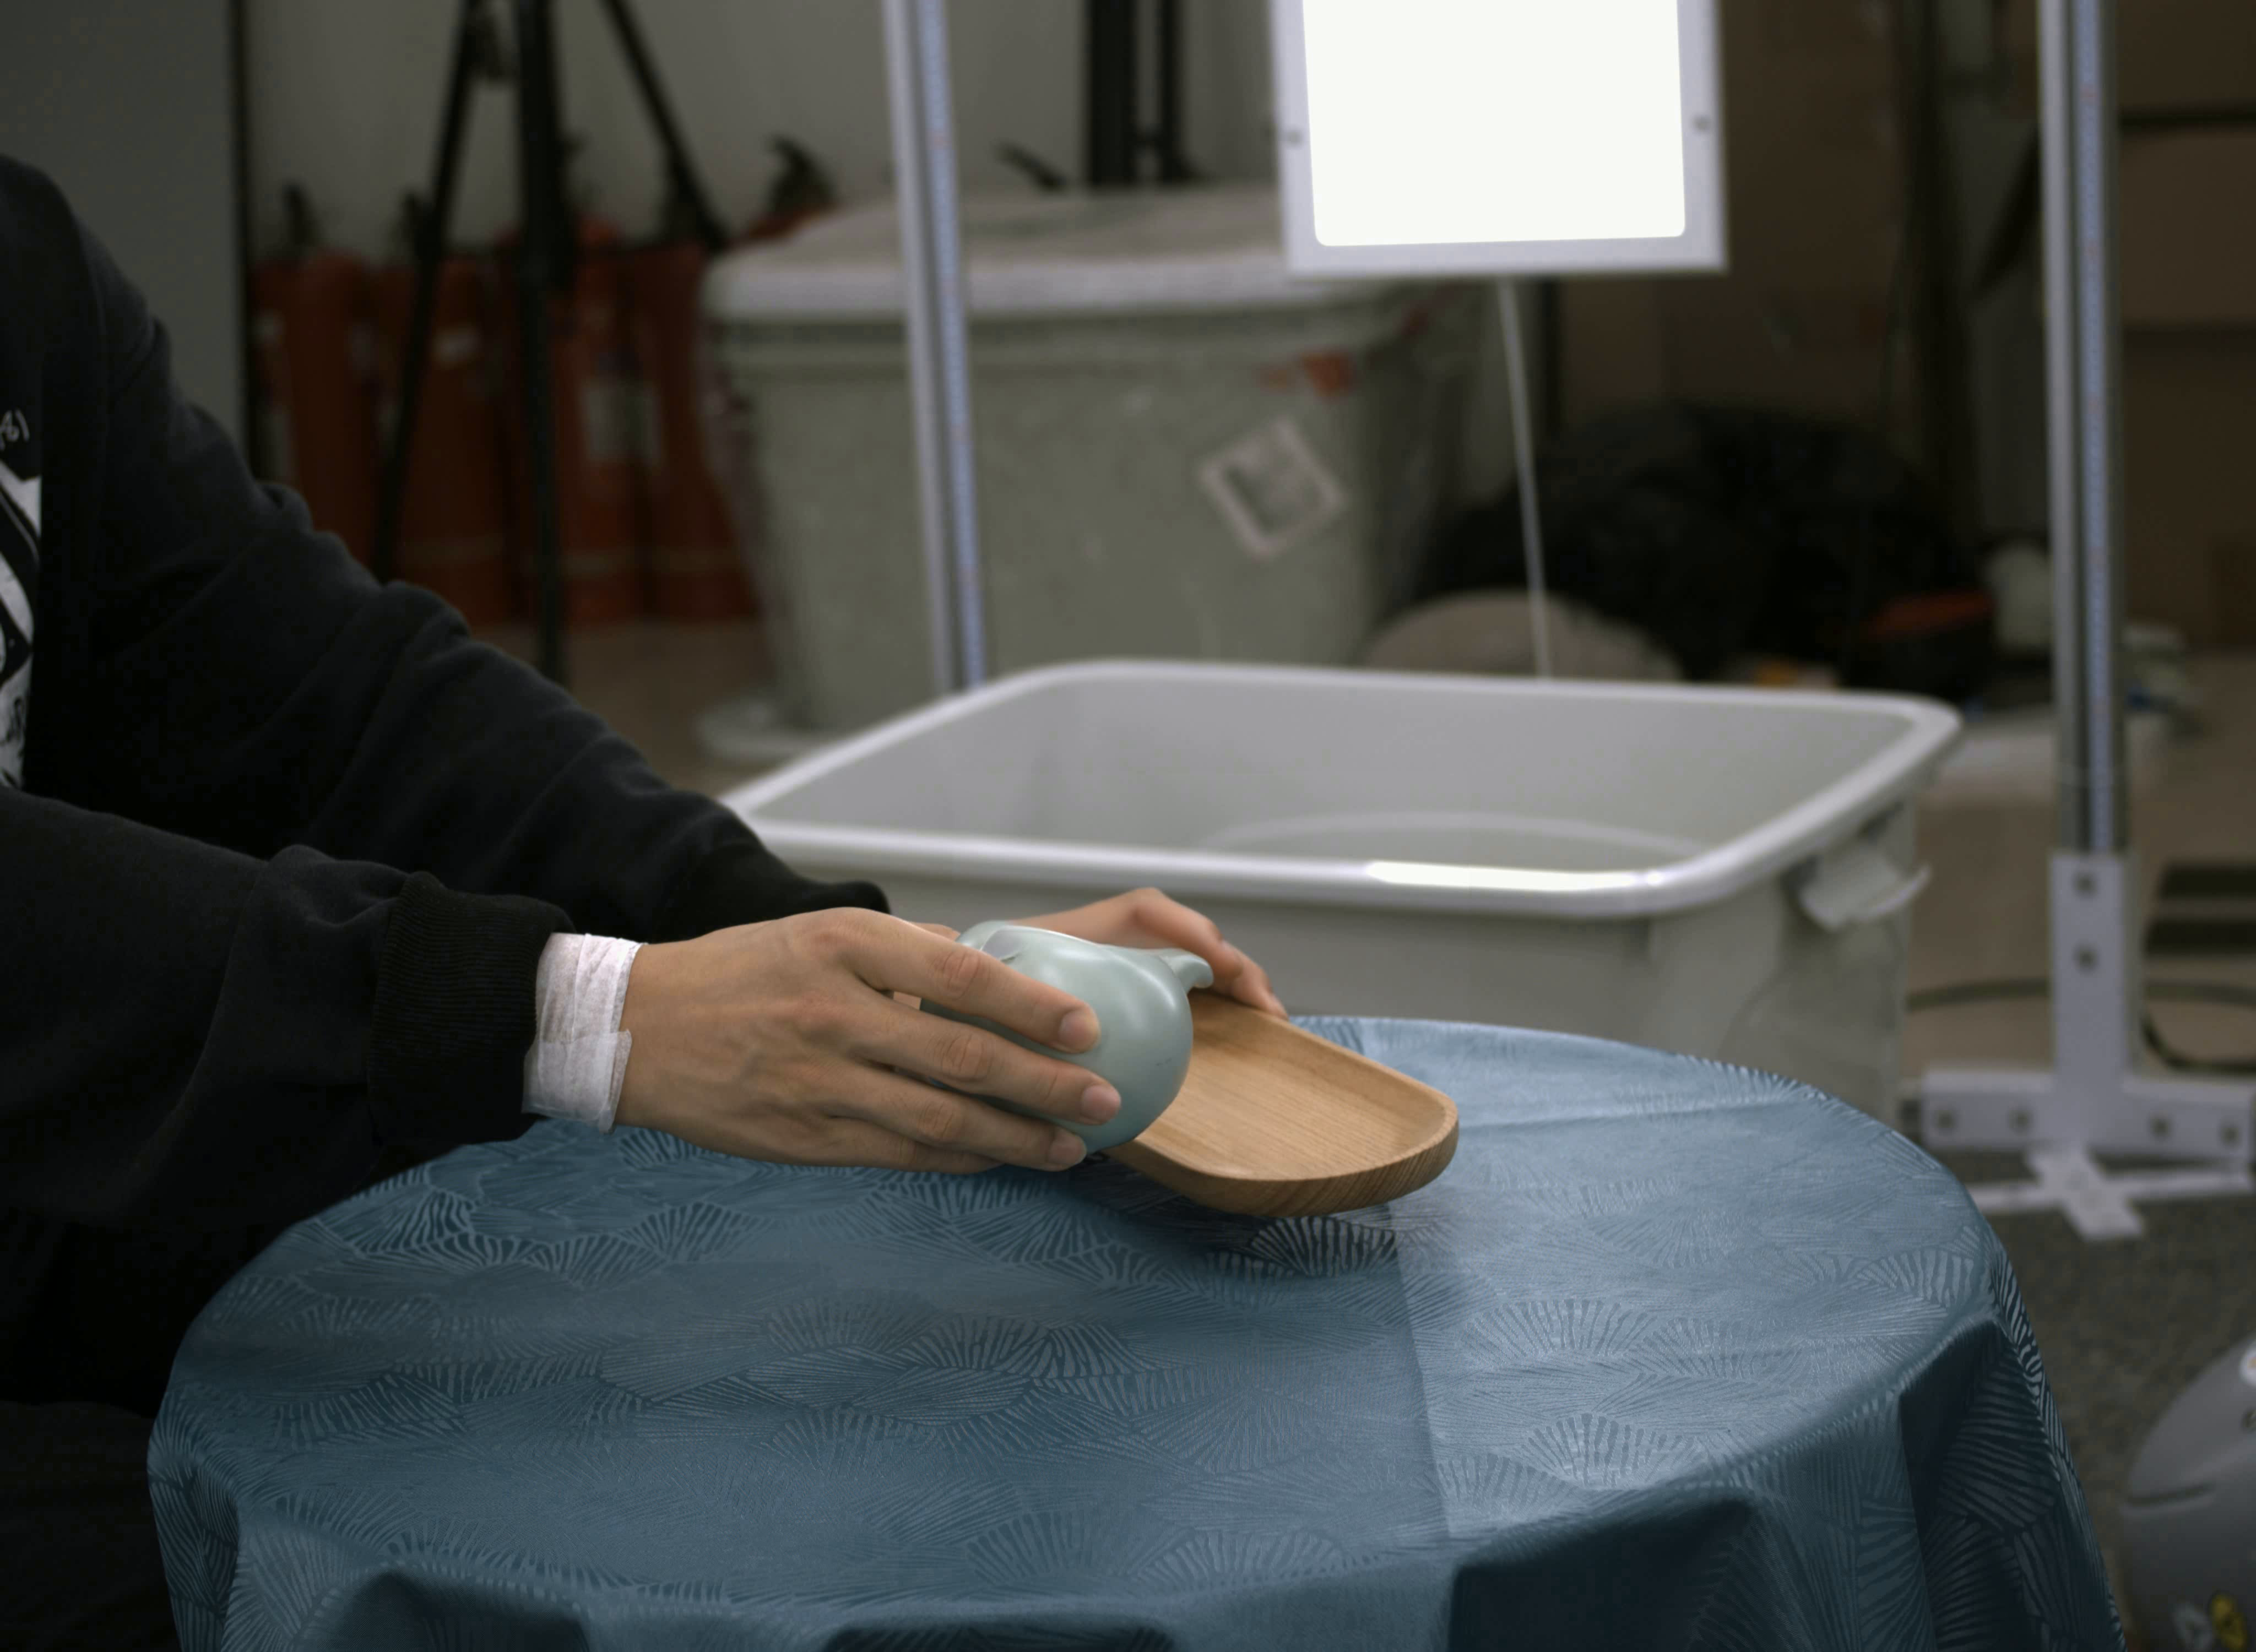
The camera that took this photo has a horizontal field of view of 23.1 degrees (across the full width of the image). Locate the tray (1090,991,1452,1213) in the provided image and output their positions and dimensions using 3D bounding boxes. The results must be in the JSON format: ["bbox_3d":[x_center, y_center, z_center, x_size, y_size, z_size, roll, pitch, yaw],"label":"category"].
[{"bbox_3d":[0.026,0.094,1.898,0.099,0.020,0.235,-14,16,-26],"label":"tray"}]

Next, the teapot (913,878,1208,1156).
[{"bbox_3d":[-0.024,0.064,1.751,0.090,0.075,0.141,13,-5,39],"label":"teapot"}]
